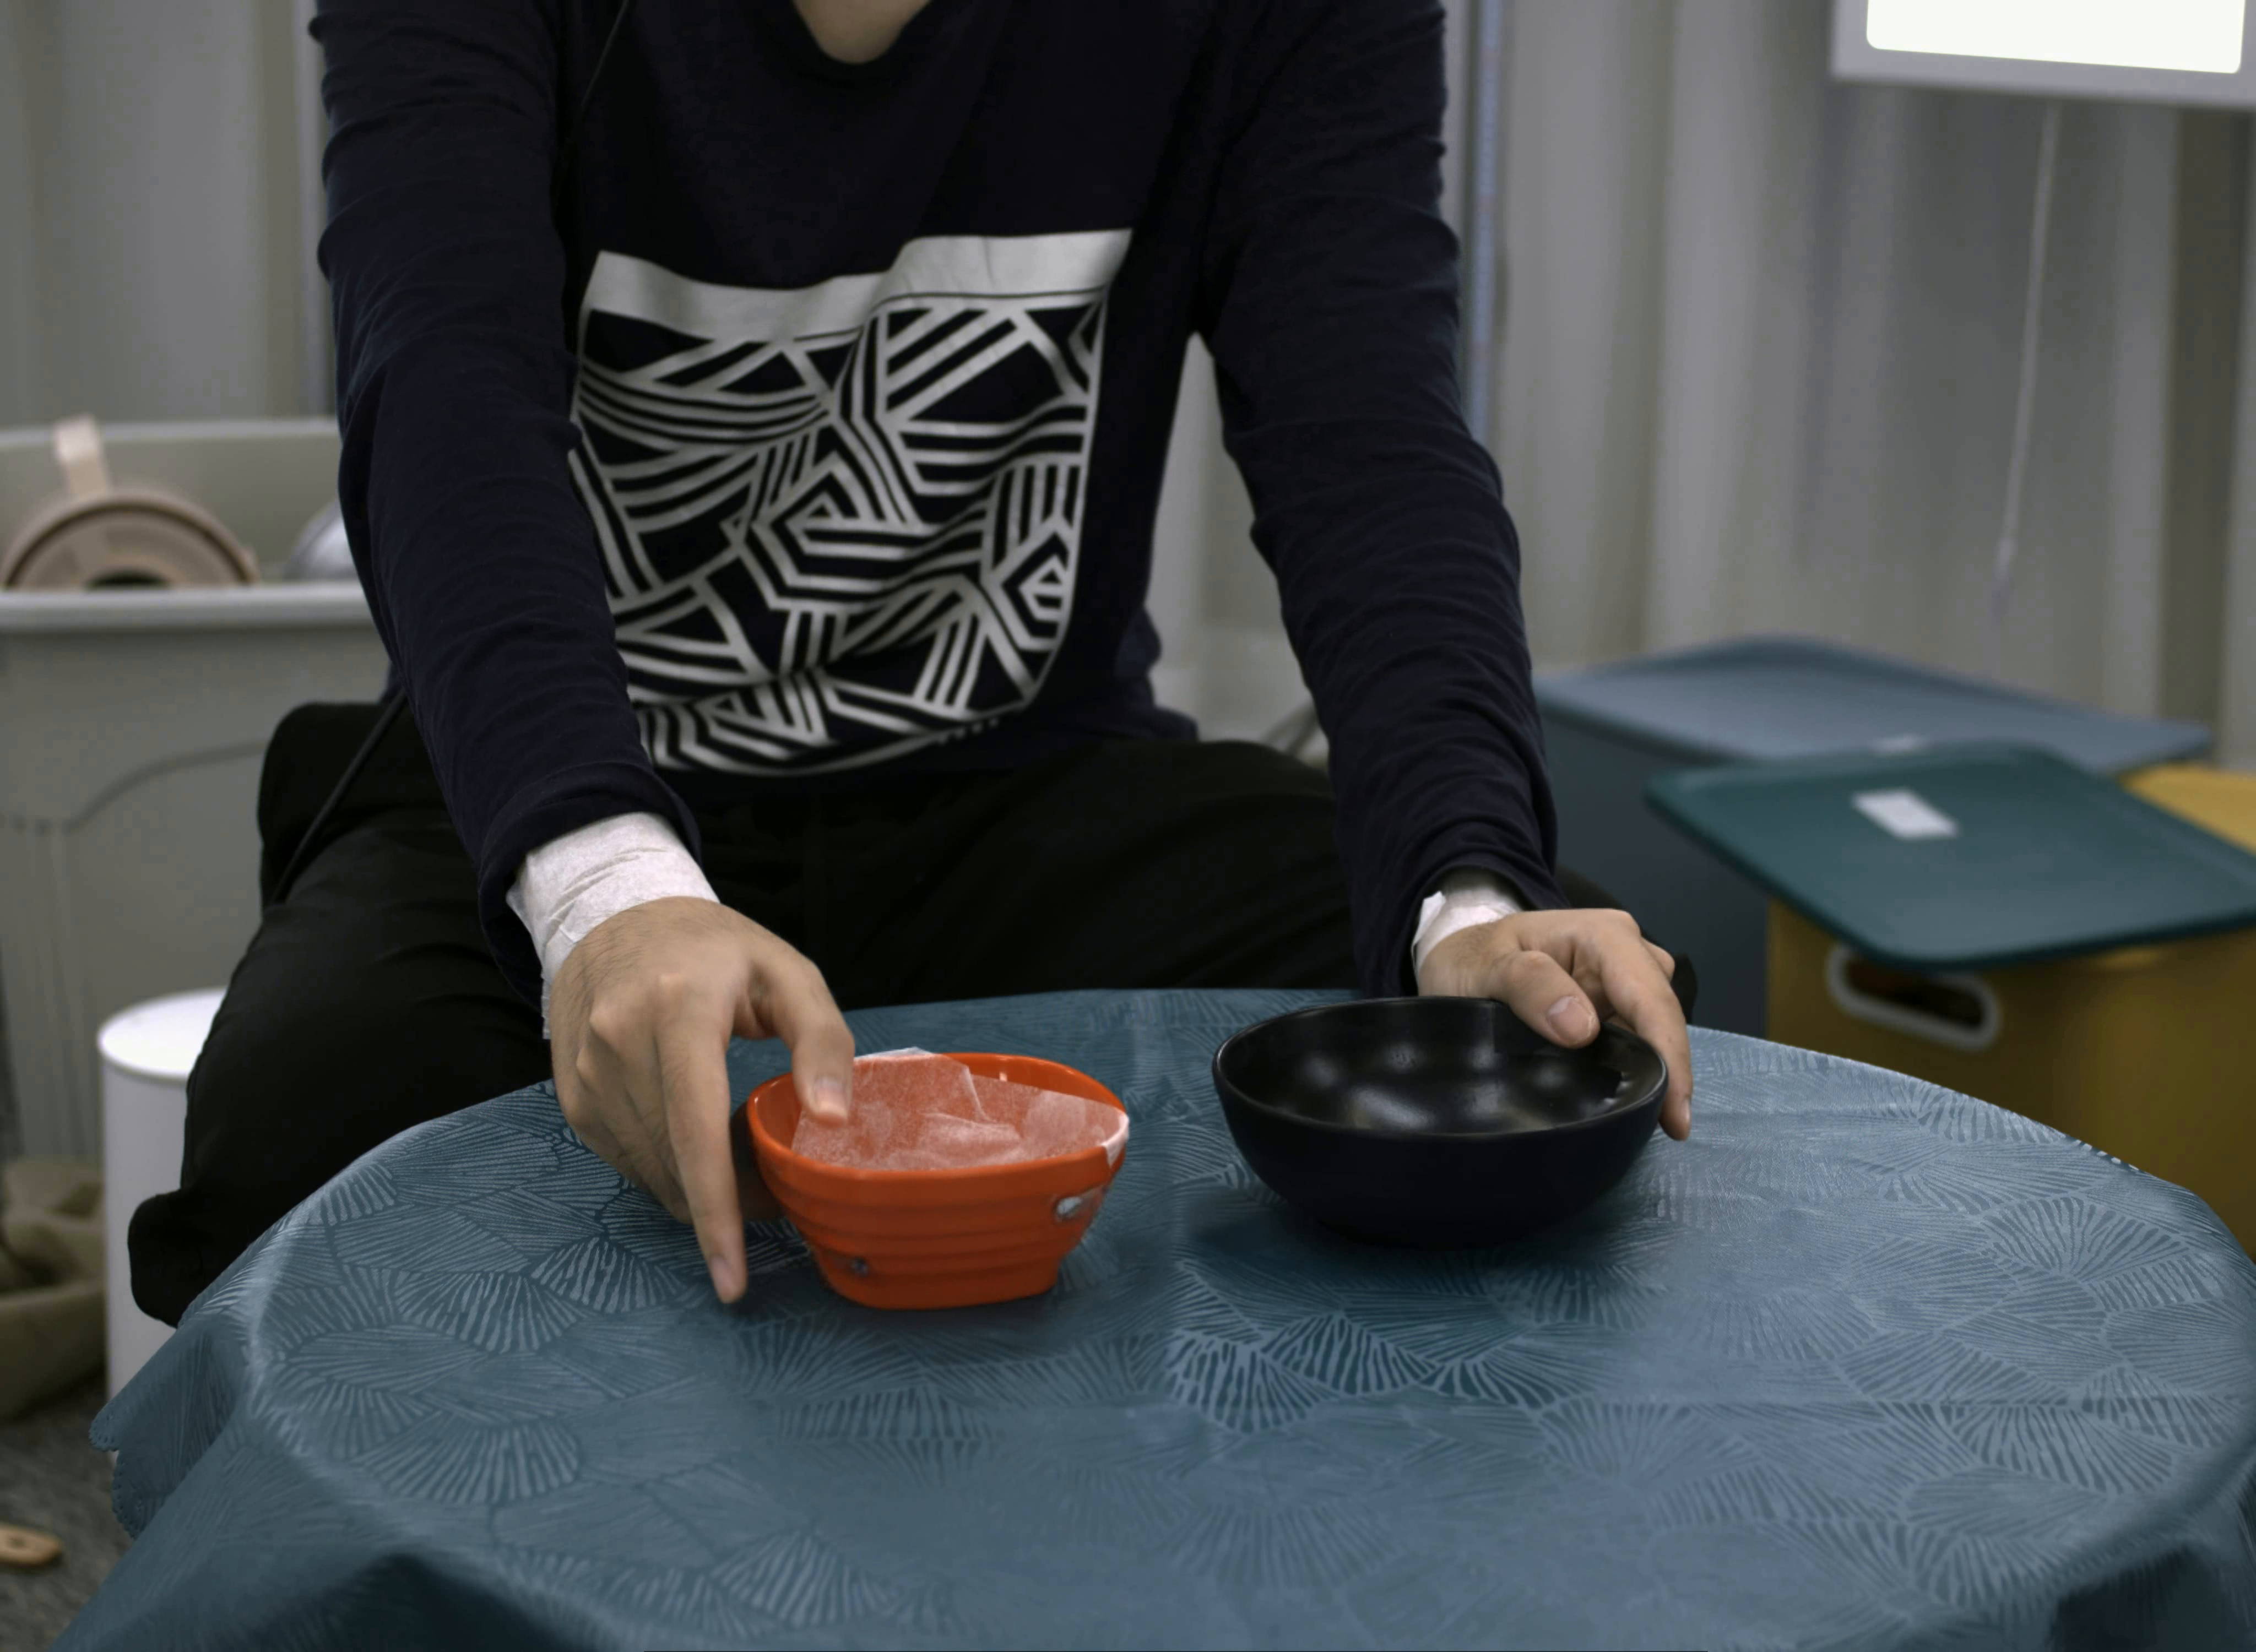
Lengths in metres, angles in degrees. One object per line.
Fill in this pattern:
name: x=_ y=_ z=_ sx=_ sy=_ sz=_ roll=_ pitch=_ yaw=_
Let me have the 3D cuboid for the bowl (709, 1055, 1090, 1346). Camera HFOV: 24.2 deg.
bowl: x=-0.066 y=0.114 z=1.556 sx=0.118 sy=0.052 sz=0.118 roll=-3 pitch=23 yaw=2

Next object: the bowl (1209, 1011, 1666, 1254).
bowl: x=0.094 y=0.097 z=1.601 sx=0.139 sy=0.050 sz=0.139 roll=0 pitch=12 yaw=1
